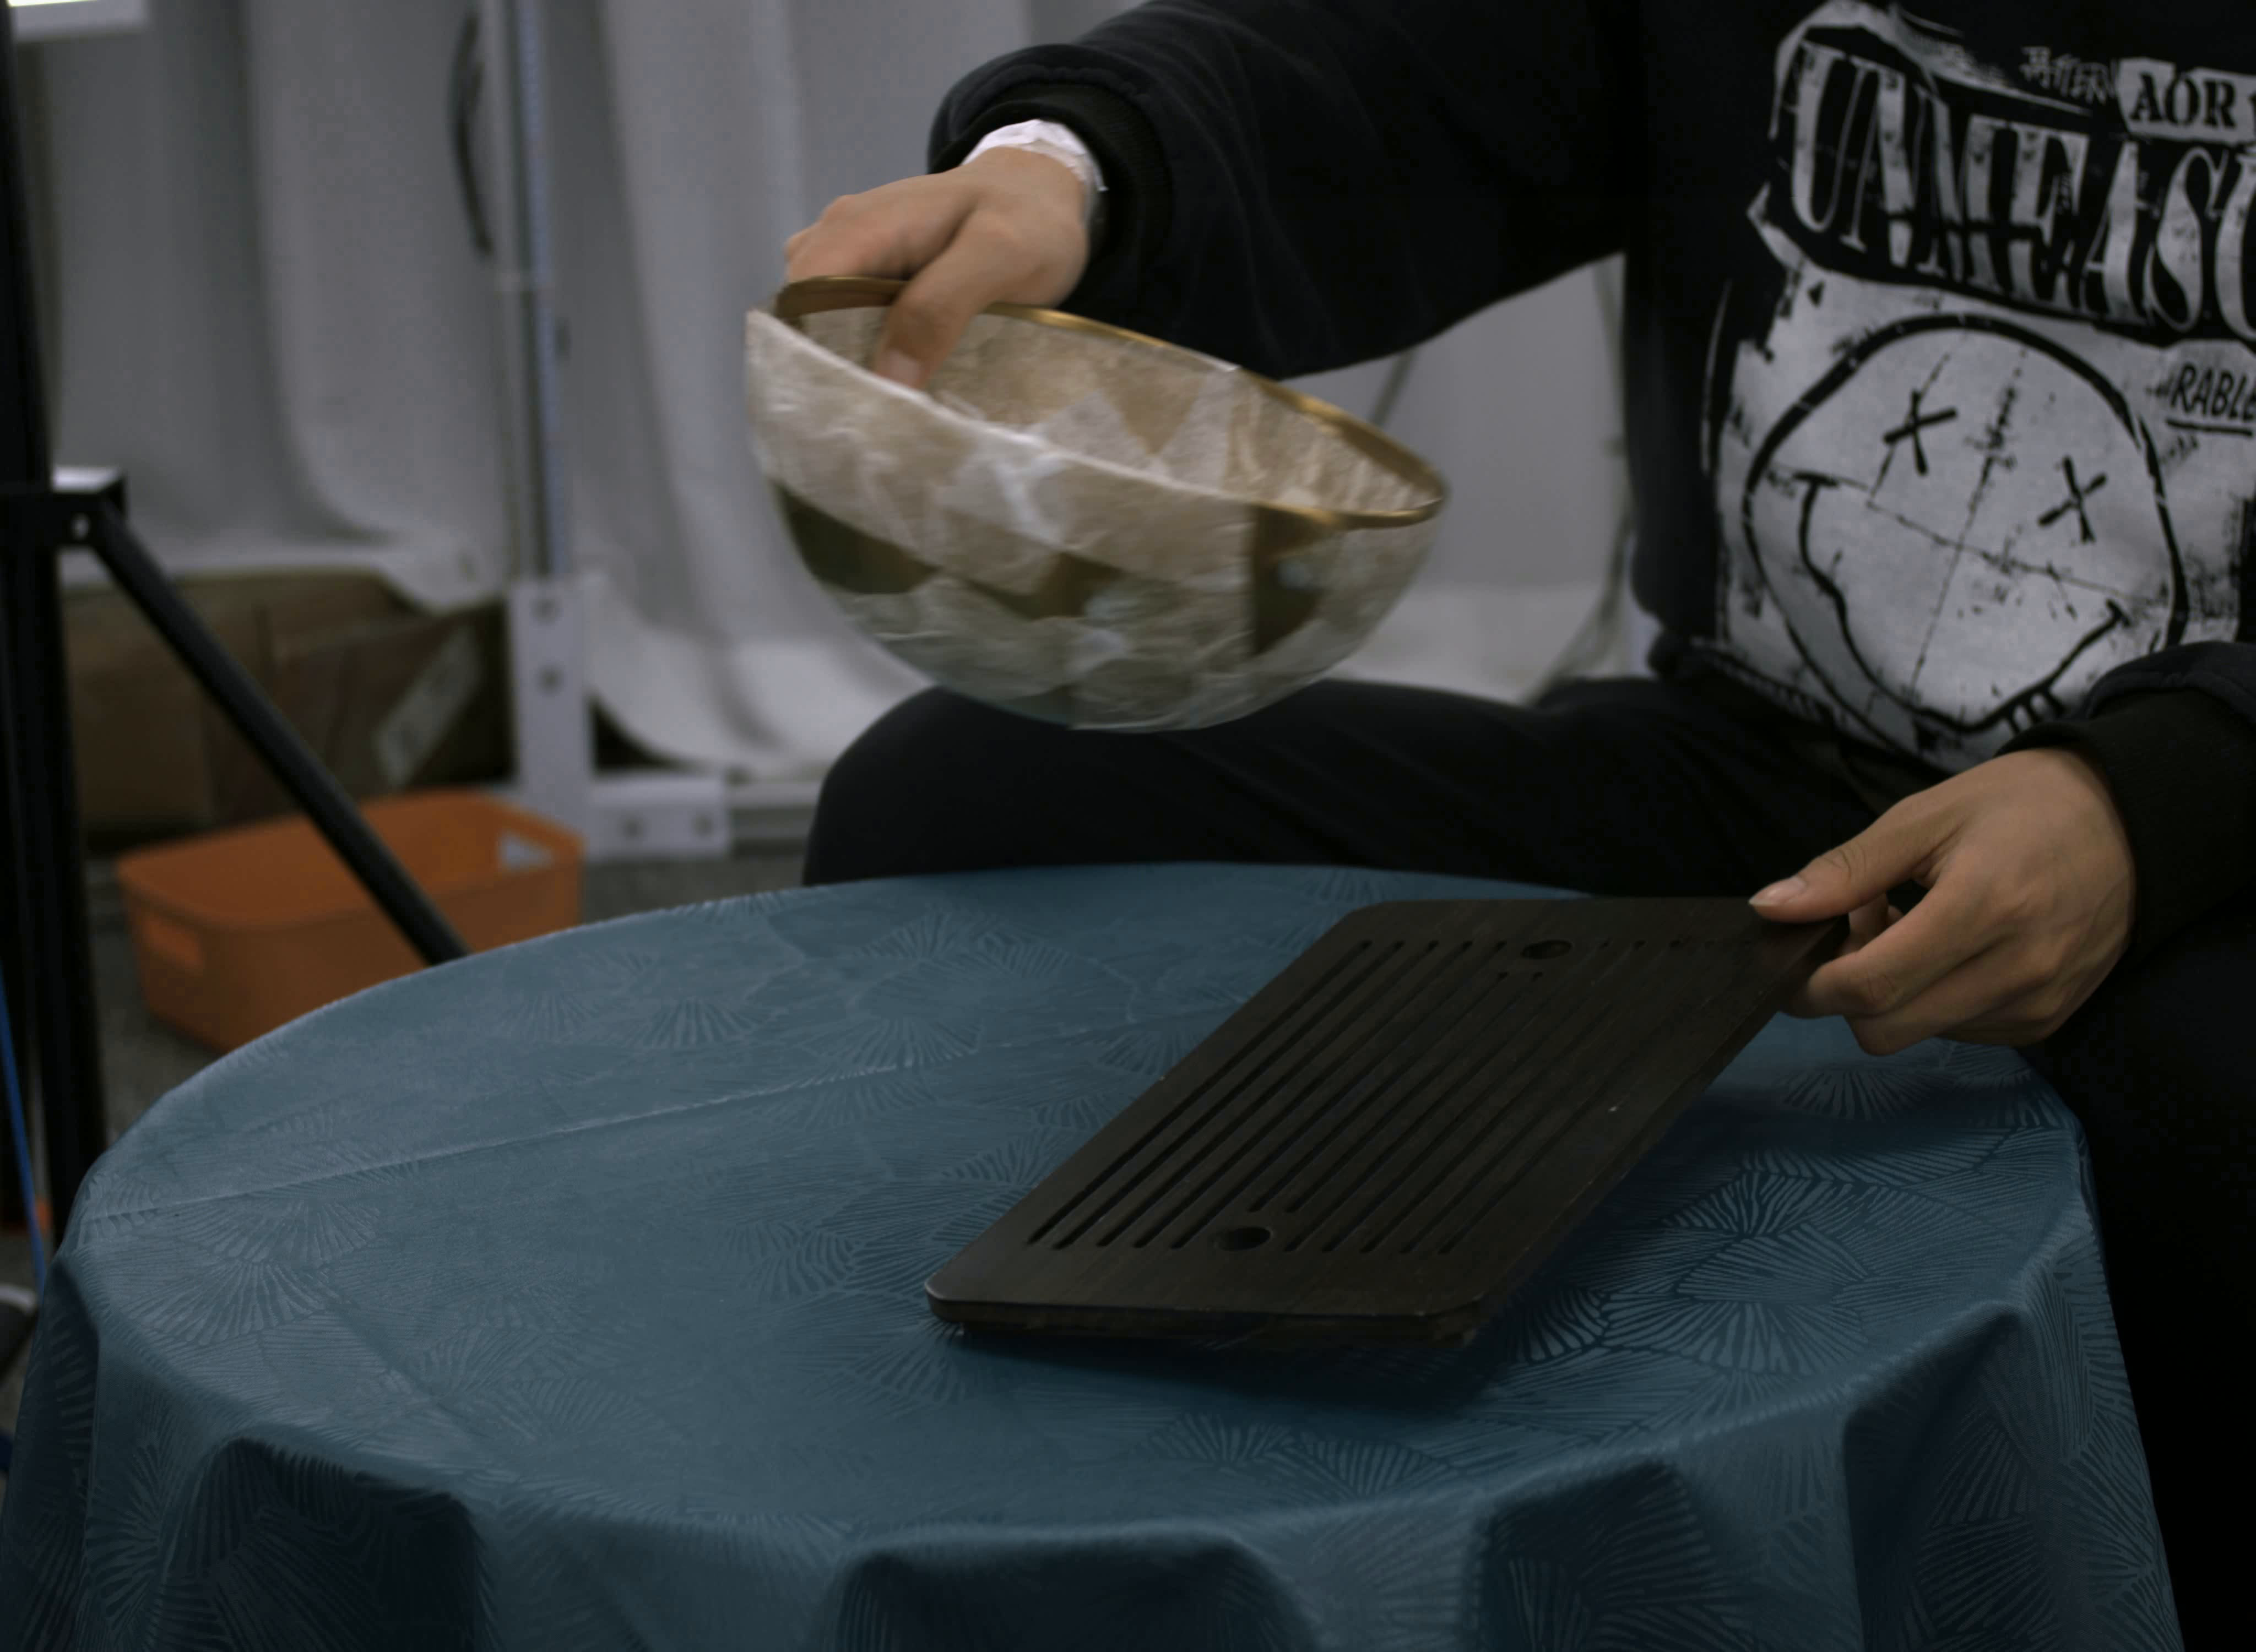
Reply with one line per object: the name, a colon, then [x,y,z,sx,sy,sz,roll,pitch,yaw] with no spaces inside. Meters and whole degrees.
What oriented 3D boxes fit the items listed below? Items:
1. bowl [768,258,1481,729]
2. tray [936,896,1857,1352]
bowl: [-0.008,-0.083,1.502,0.213,0.095,0.216,14,14,-5]
tray: [0.085,0.083,1.525,0.173,0.018,0.301,-1,20,29]
